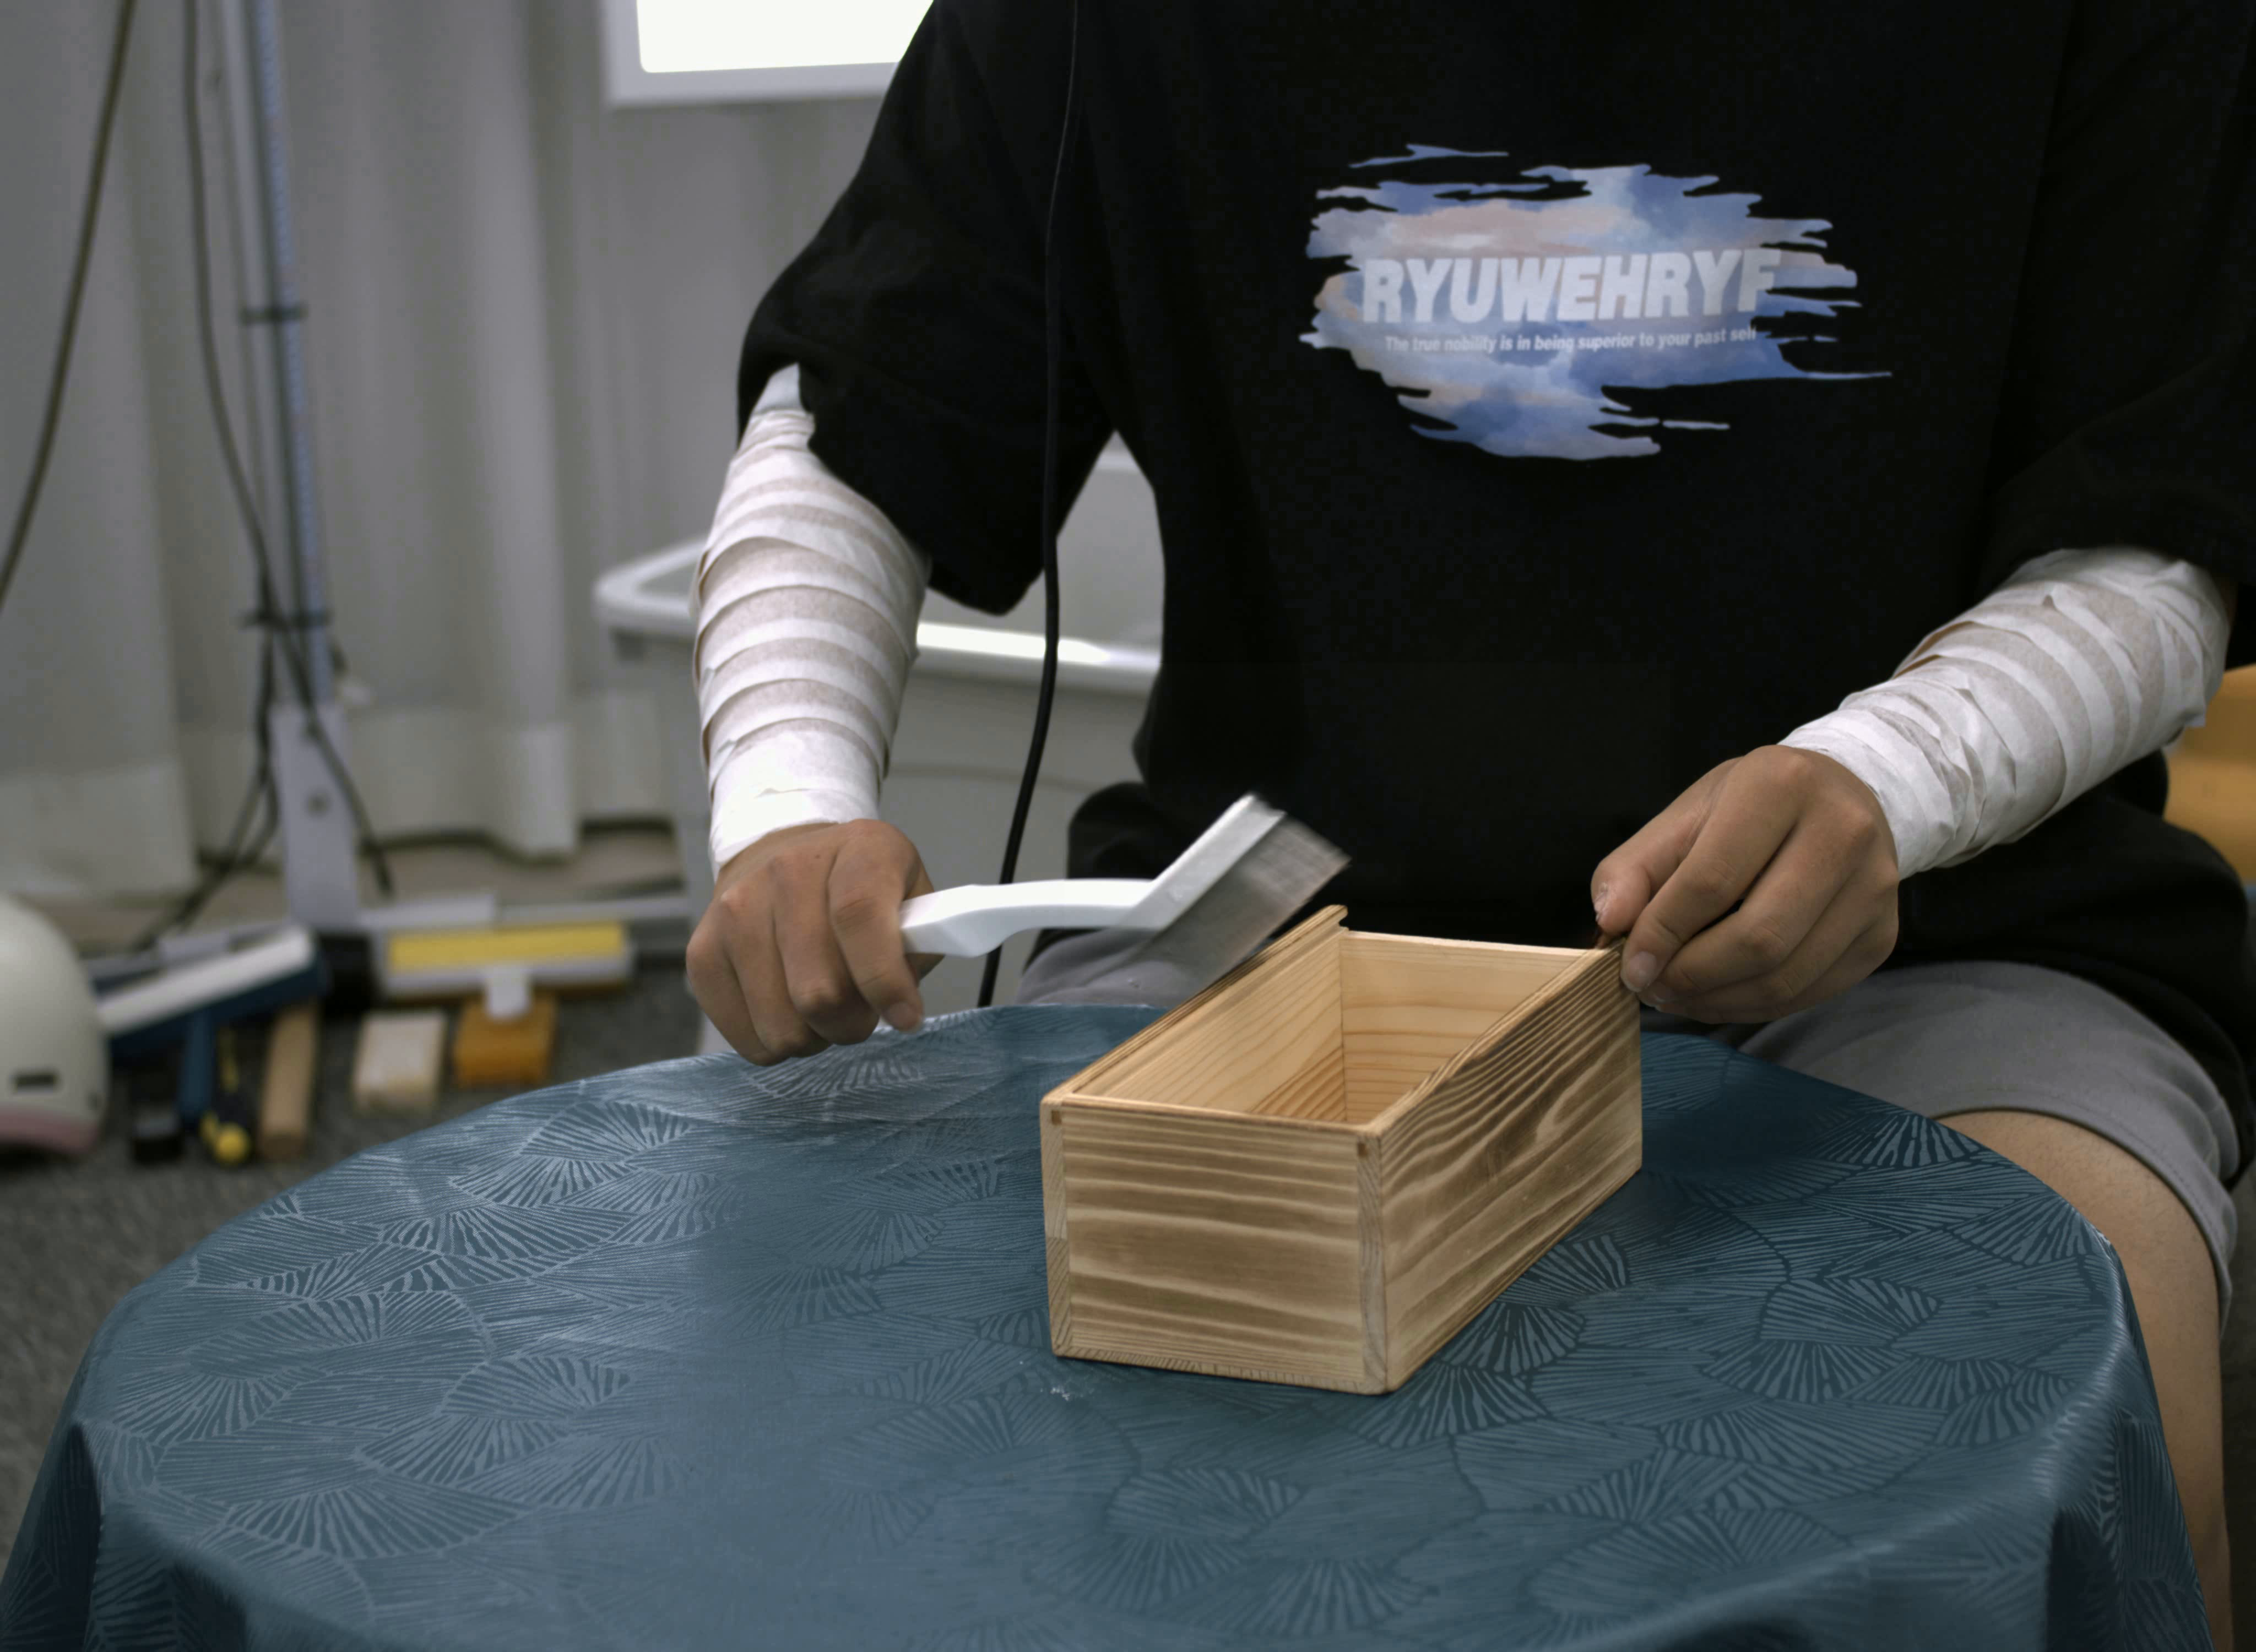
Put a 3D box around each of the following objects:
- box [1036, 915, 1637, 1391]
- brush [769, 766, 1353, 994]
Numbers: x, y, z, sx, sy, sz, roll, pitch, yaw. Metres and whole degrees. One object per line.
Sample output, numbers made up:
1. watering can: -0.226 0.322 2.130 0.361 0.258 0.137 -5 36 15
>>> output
1. box: 0.066 0.093 1.629 0.107 0.080 0.212 4 15 24
2. brush: -0.023 0.035 1.722 0.243 0.050 0.034 -21 18 44
